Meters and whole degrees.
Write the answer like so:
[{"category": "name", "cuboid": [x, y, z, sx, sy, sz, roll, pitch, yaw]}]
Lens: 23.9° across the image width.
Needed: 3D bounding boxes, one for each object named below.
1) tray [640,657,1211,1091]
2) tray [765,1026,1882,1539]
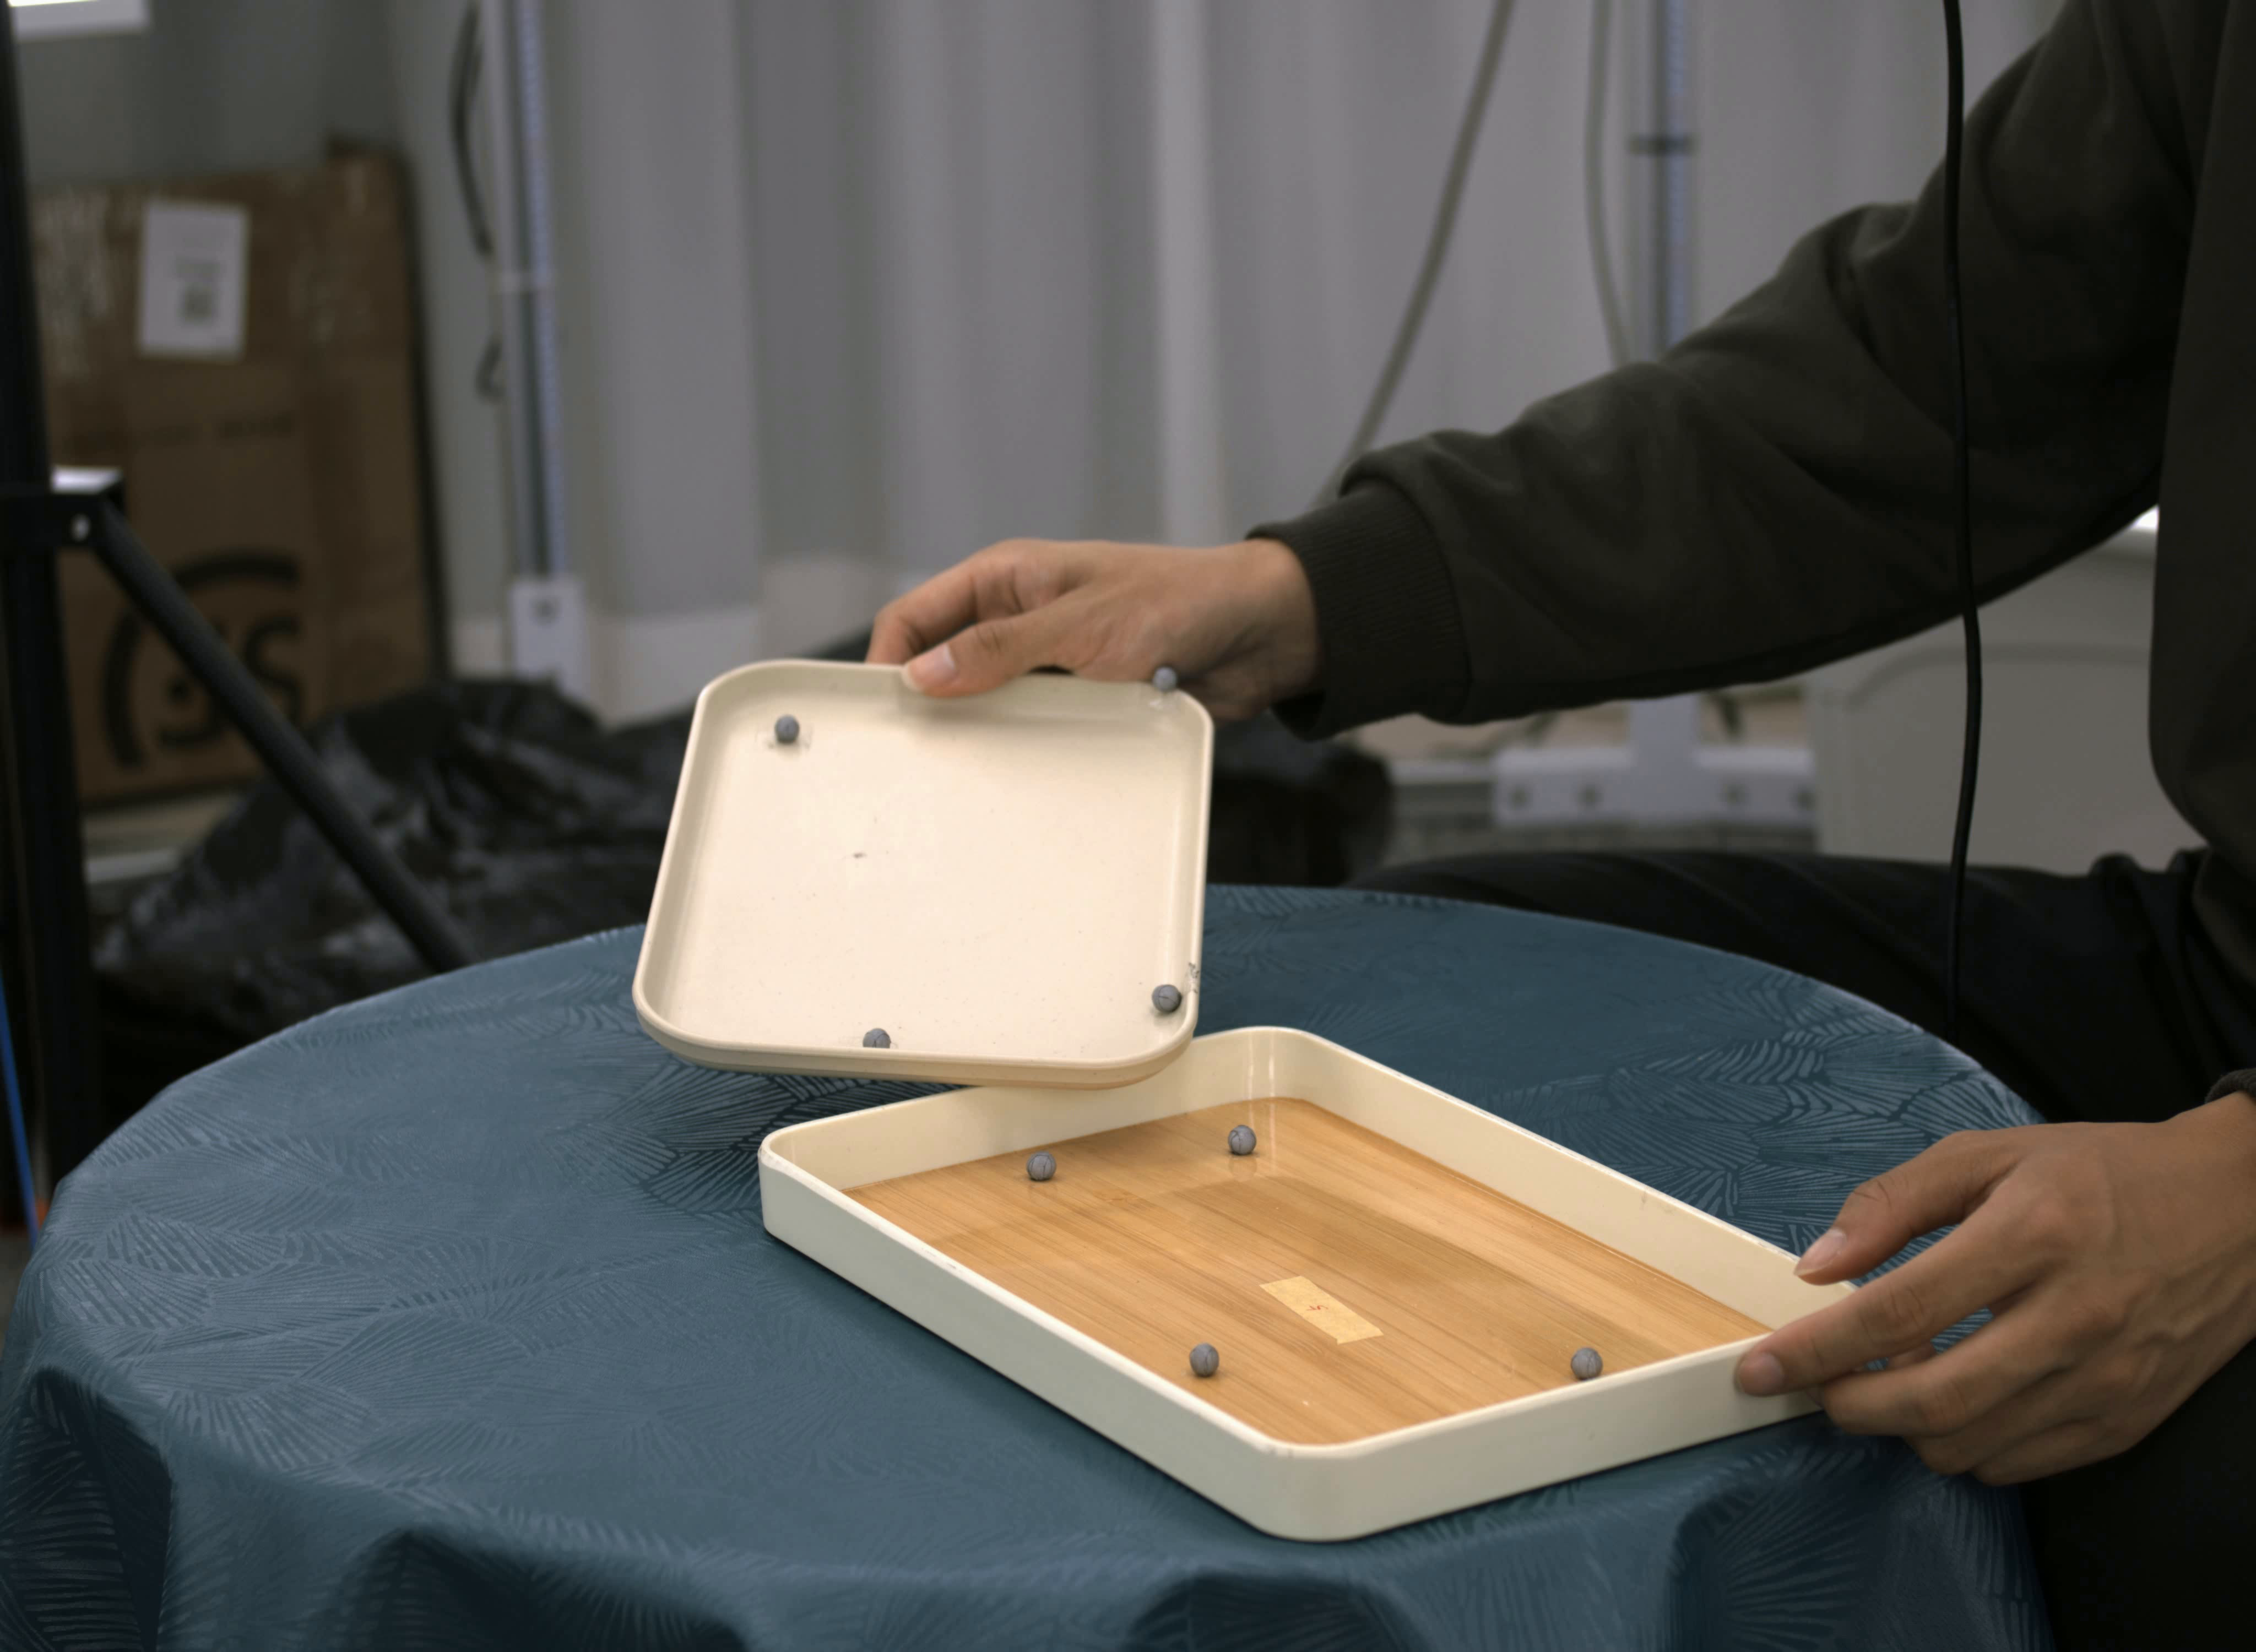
[{"category": "tray", "cuboid": [-0.059, 0.014, 1.672, 0.171, 0.017, 0.241, 2, 30, 2]}, {"category": "tray", "cuboid": [0.047, 0.120, 1.464, 0.187, 0.027, 0.307, -11, 18, -29]}]
